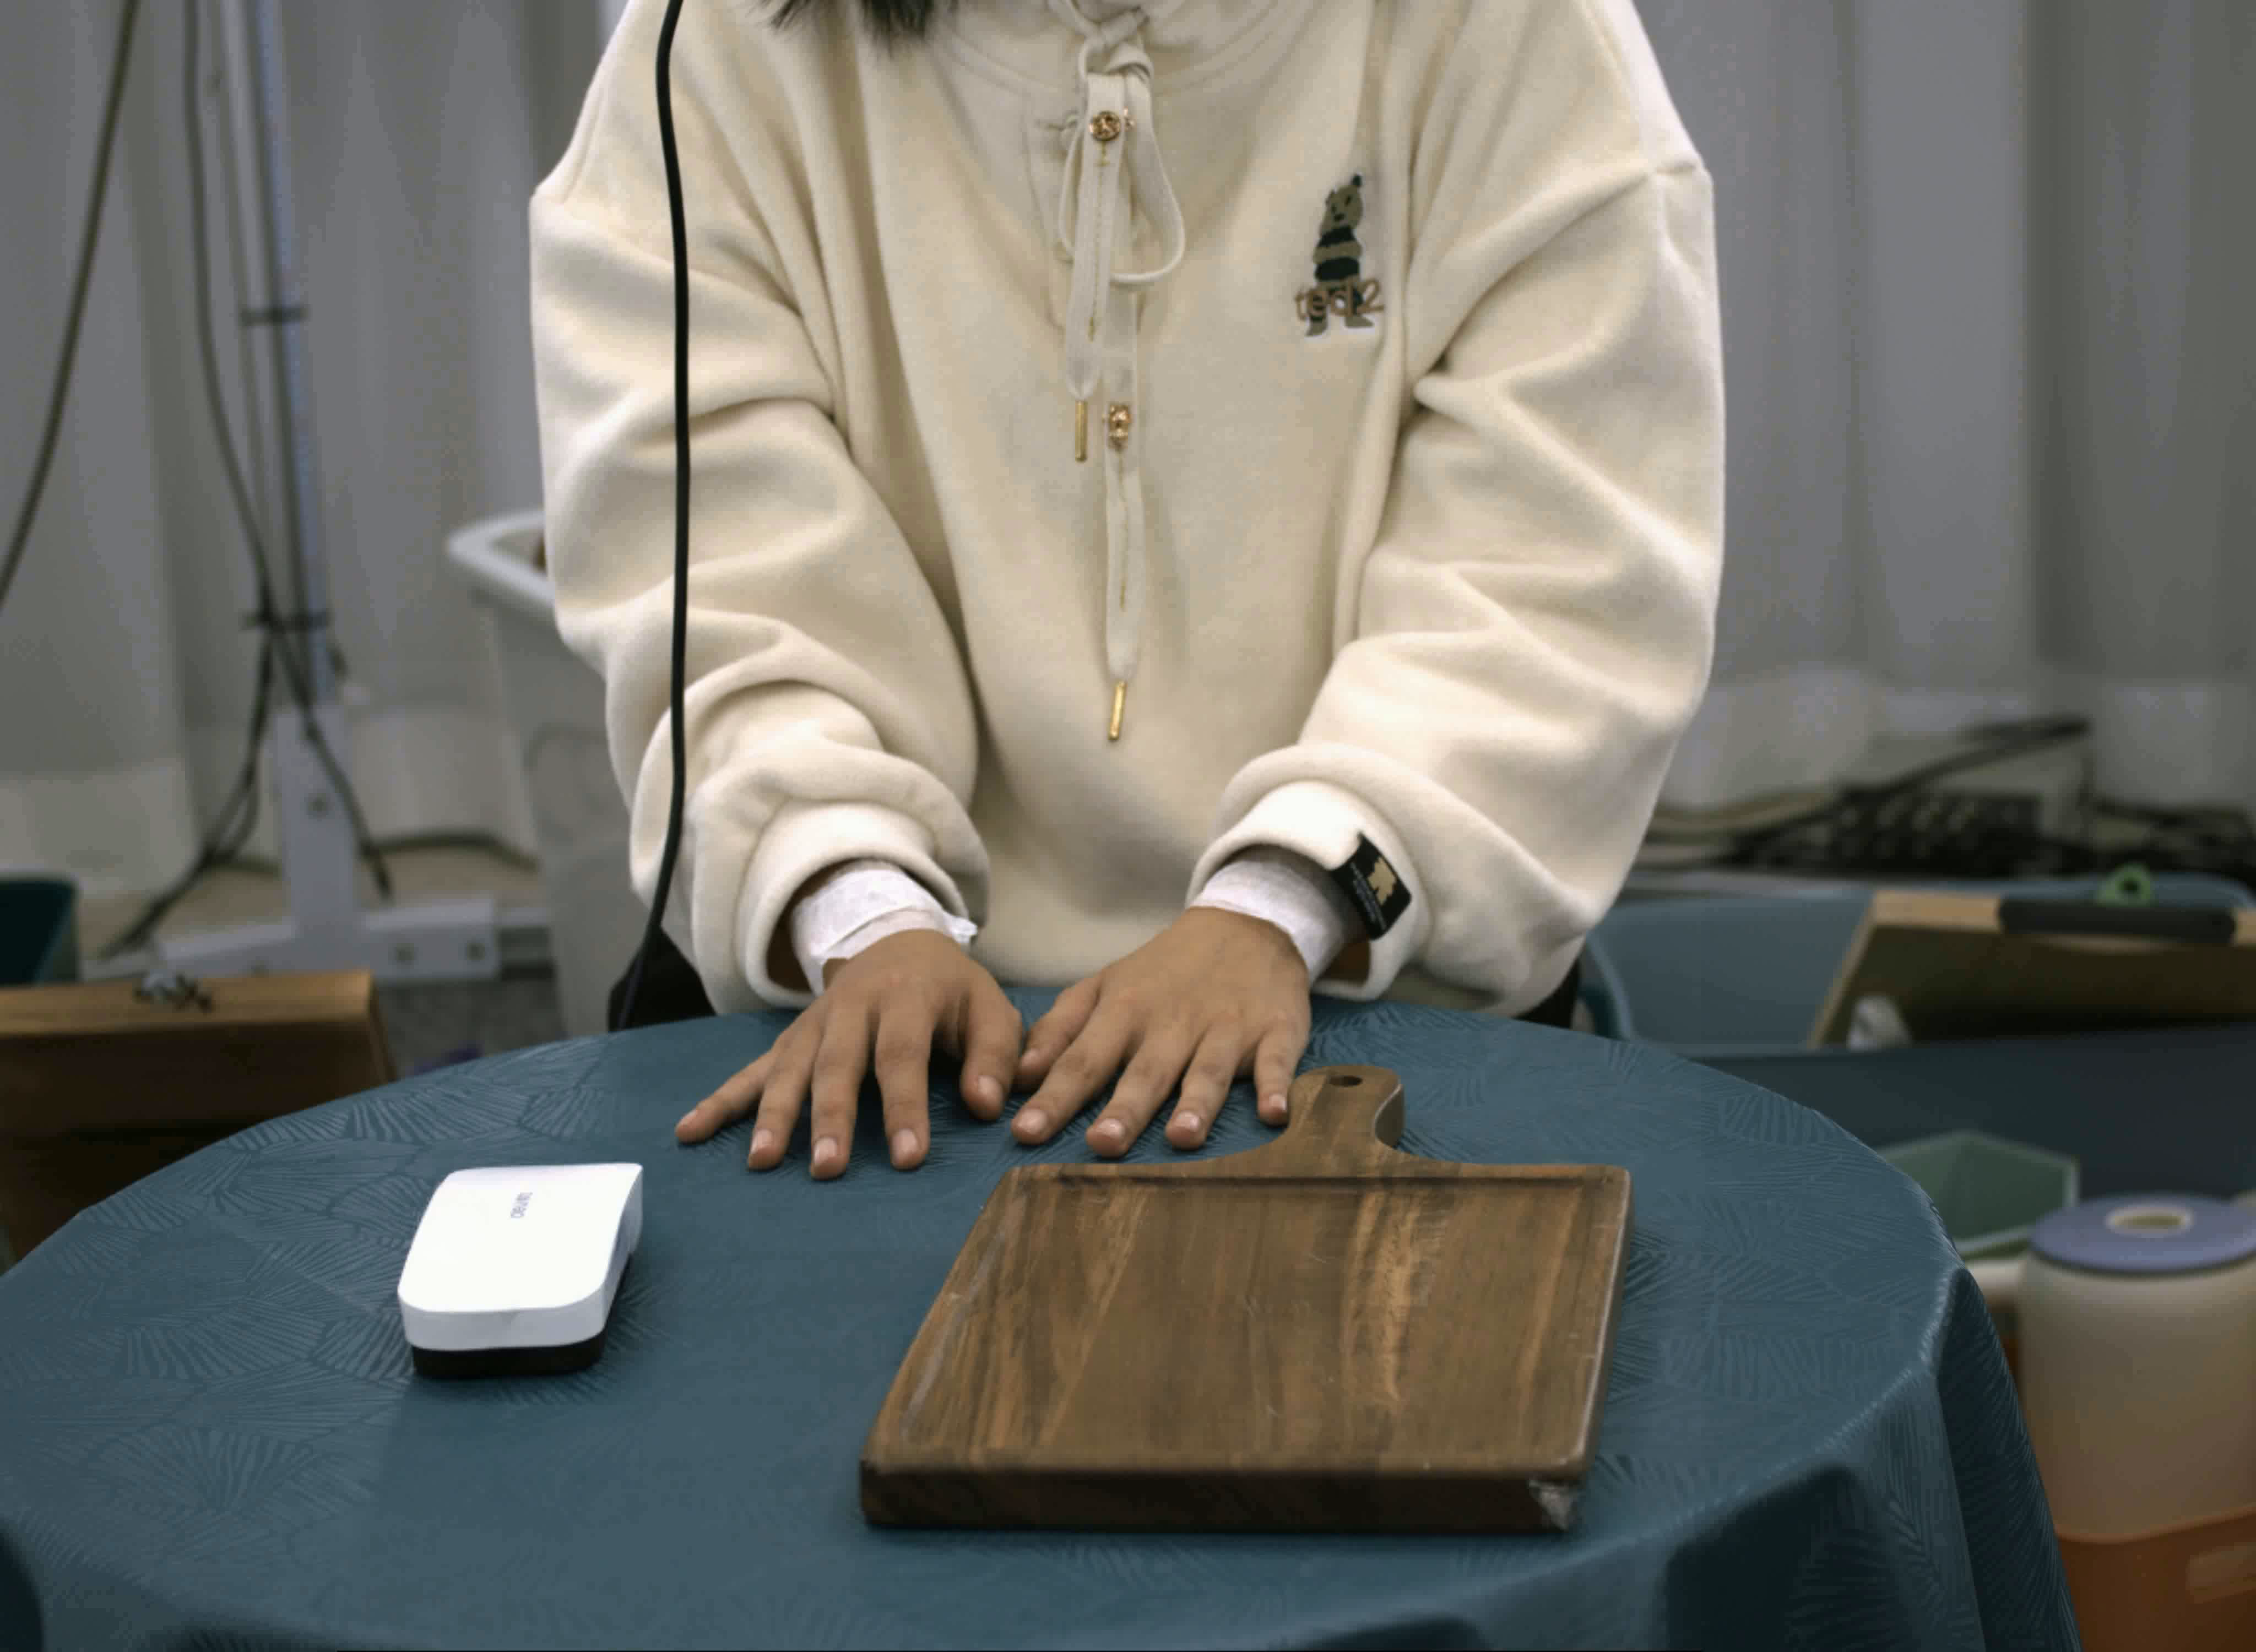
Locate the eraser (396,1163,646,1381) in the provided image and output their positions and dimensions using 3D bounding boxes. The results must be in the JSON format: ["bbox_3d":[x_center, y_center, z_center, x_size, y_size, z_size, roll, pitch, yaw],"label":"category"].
[{"bbox_3d":[-0.178,0.129,1.636,0.063,0.034,0.132,-3,15,4],"label":"eraser"}]

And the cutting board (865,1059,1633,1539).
[{"bbox_3d":[0.047,0.131,1.600,0.200,0.023,0.354,0,15,8],"label":"cutting board"}]
